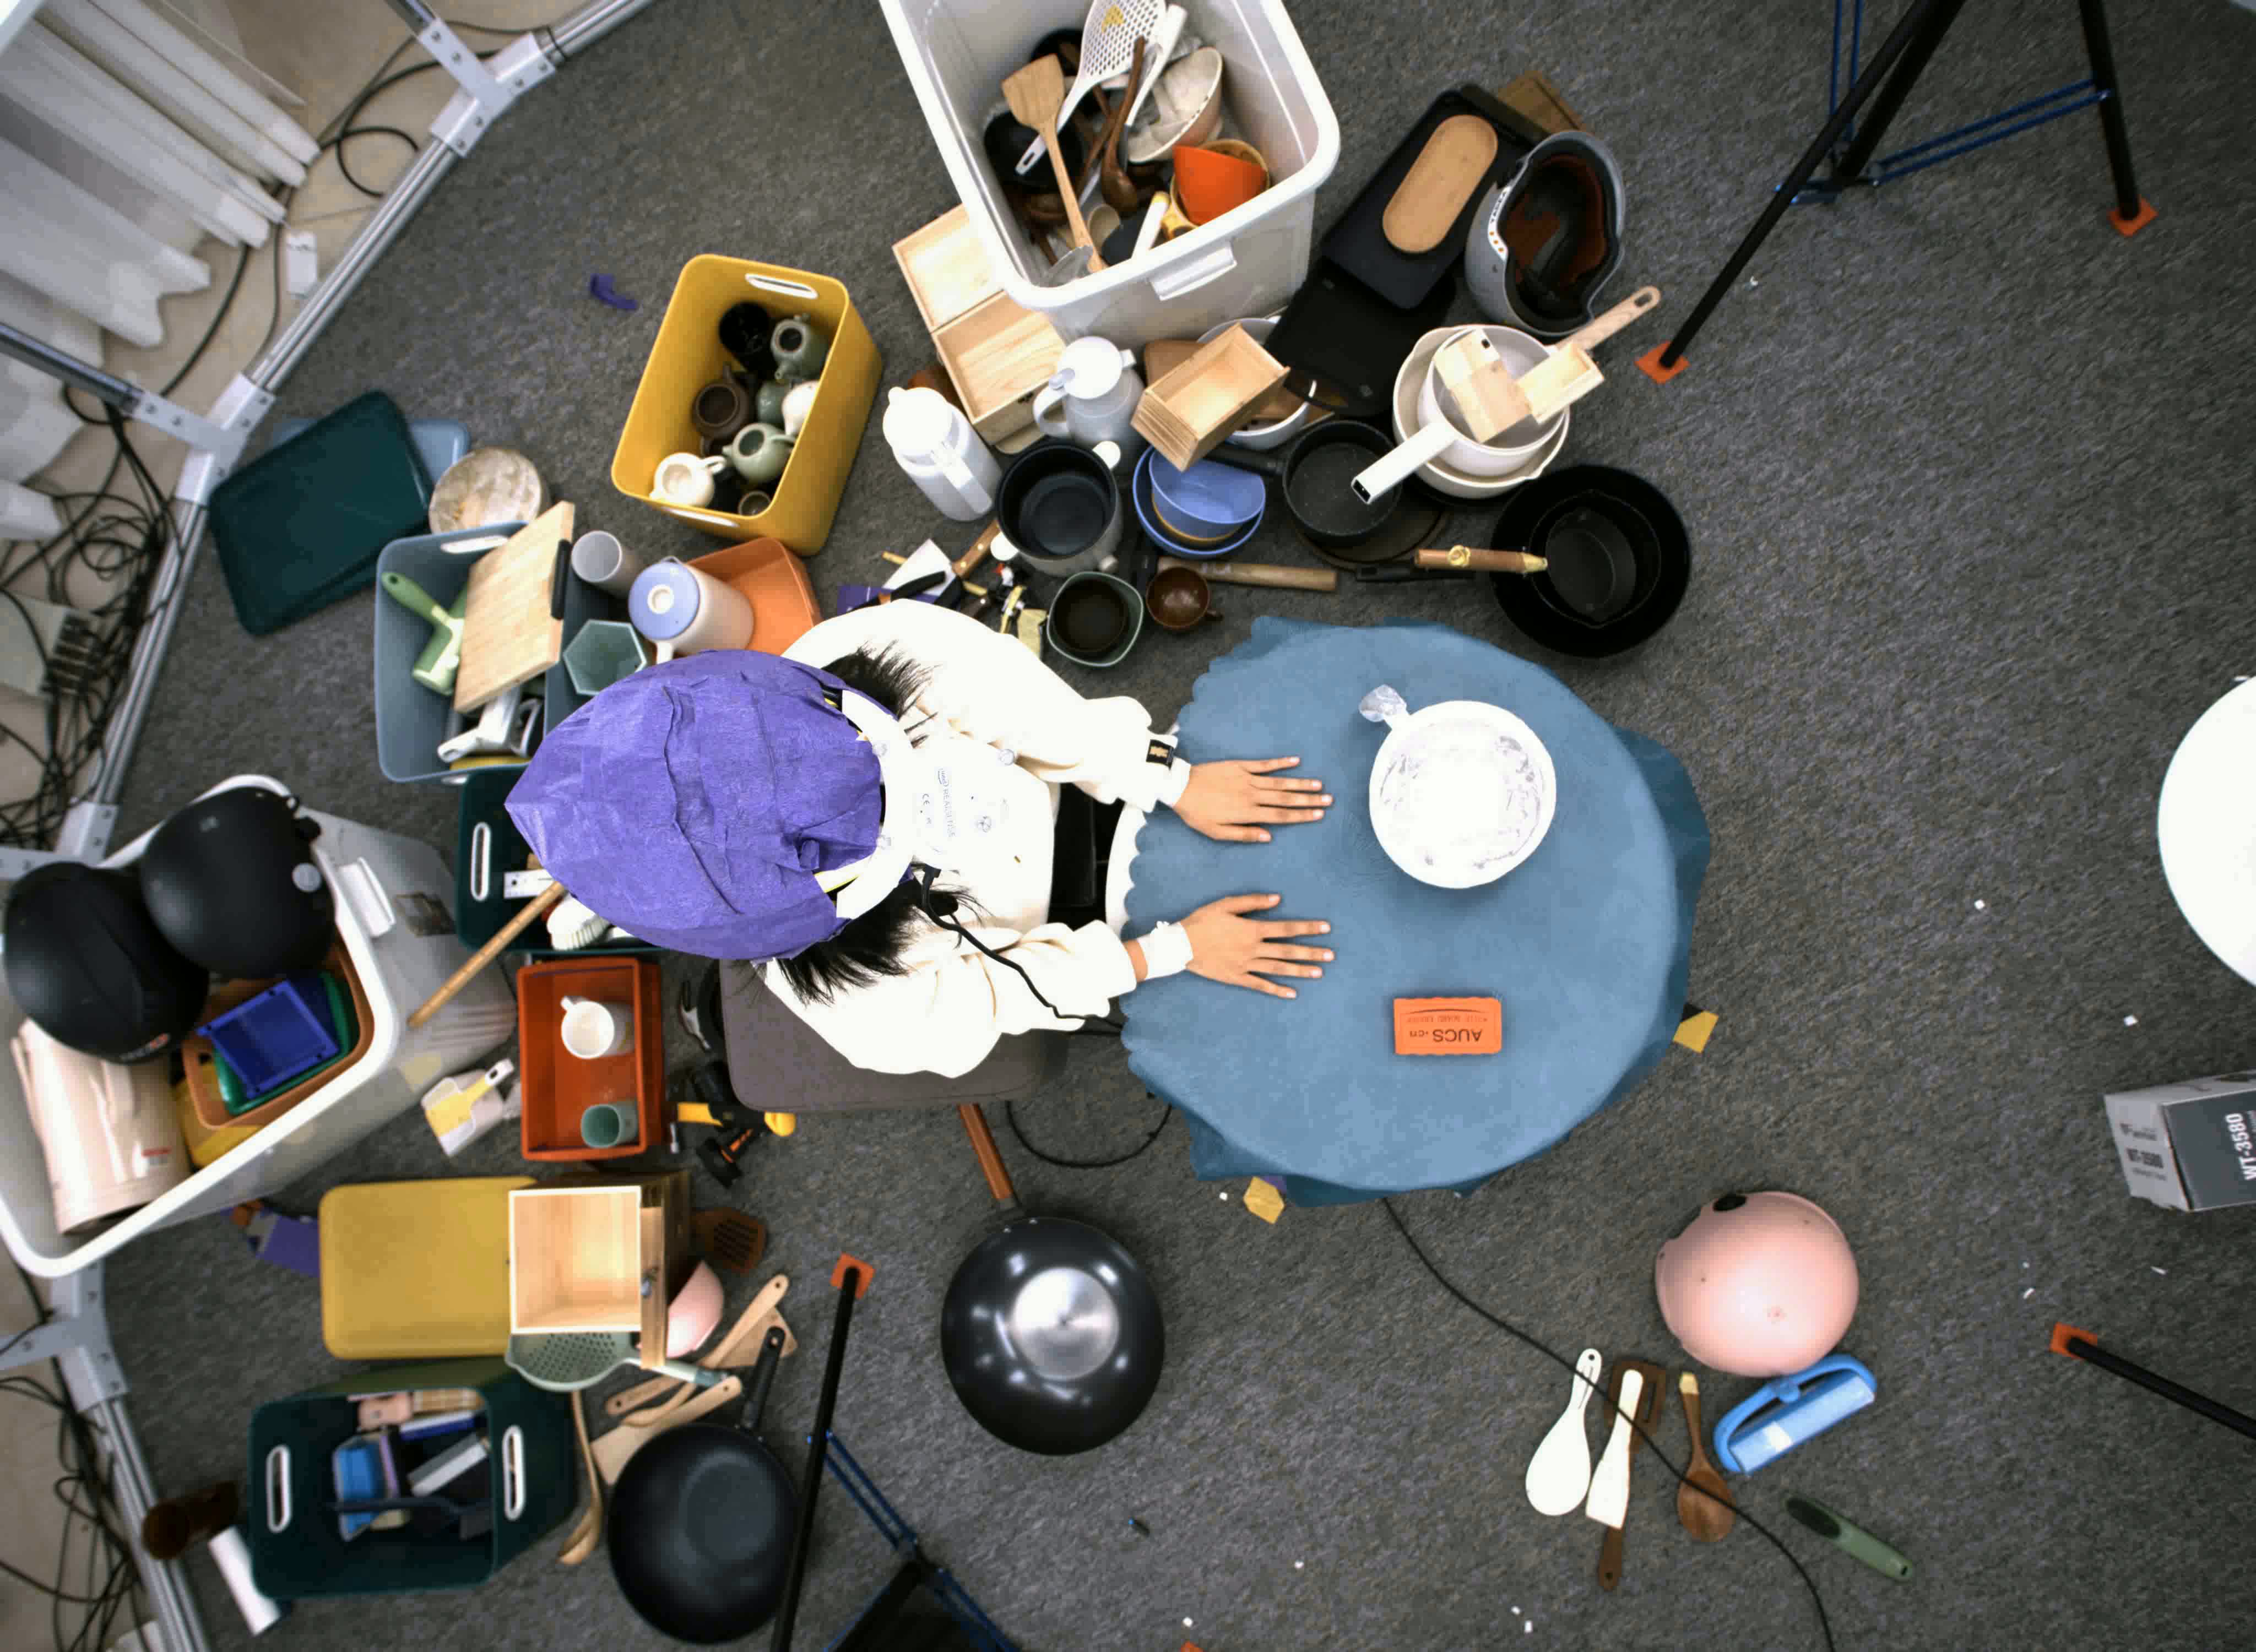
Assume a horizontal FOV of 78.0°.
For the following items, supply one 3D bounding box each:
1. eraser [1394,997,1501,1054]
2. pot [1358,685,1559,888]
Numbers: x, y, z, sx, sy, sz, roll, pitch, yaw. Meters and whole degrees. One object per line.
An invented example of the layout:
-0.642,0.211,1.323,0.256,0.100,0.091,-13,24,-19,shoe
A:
0.330,0.205,1.429,0.108,0.023,0.058,-1,83,10,eraser
0.315,-0.050,1.386,0.179,0.137,0.232,-39,82,4,pot
